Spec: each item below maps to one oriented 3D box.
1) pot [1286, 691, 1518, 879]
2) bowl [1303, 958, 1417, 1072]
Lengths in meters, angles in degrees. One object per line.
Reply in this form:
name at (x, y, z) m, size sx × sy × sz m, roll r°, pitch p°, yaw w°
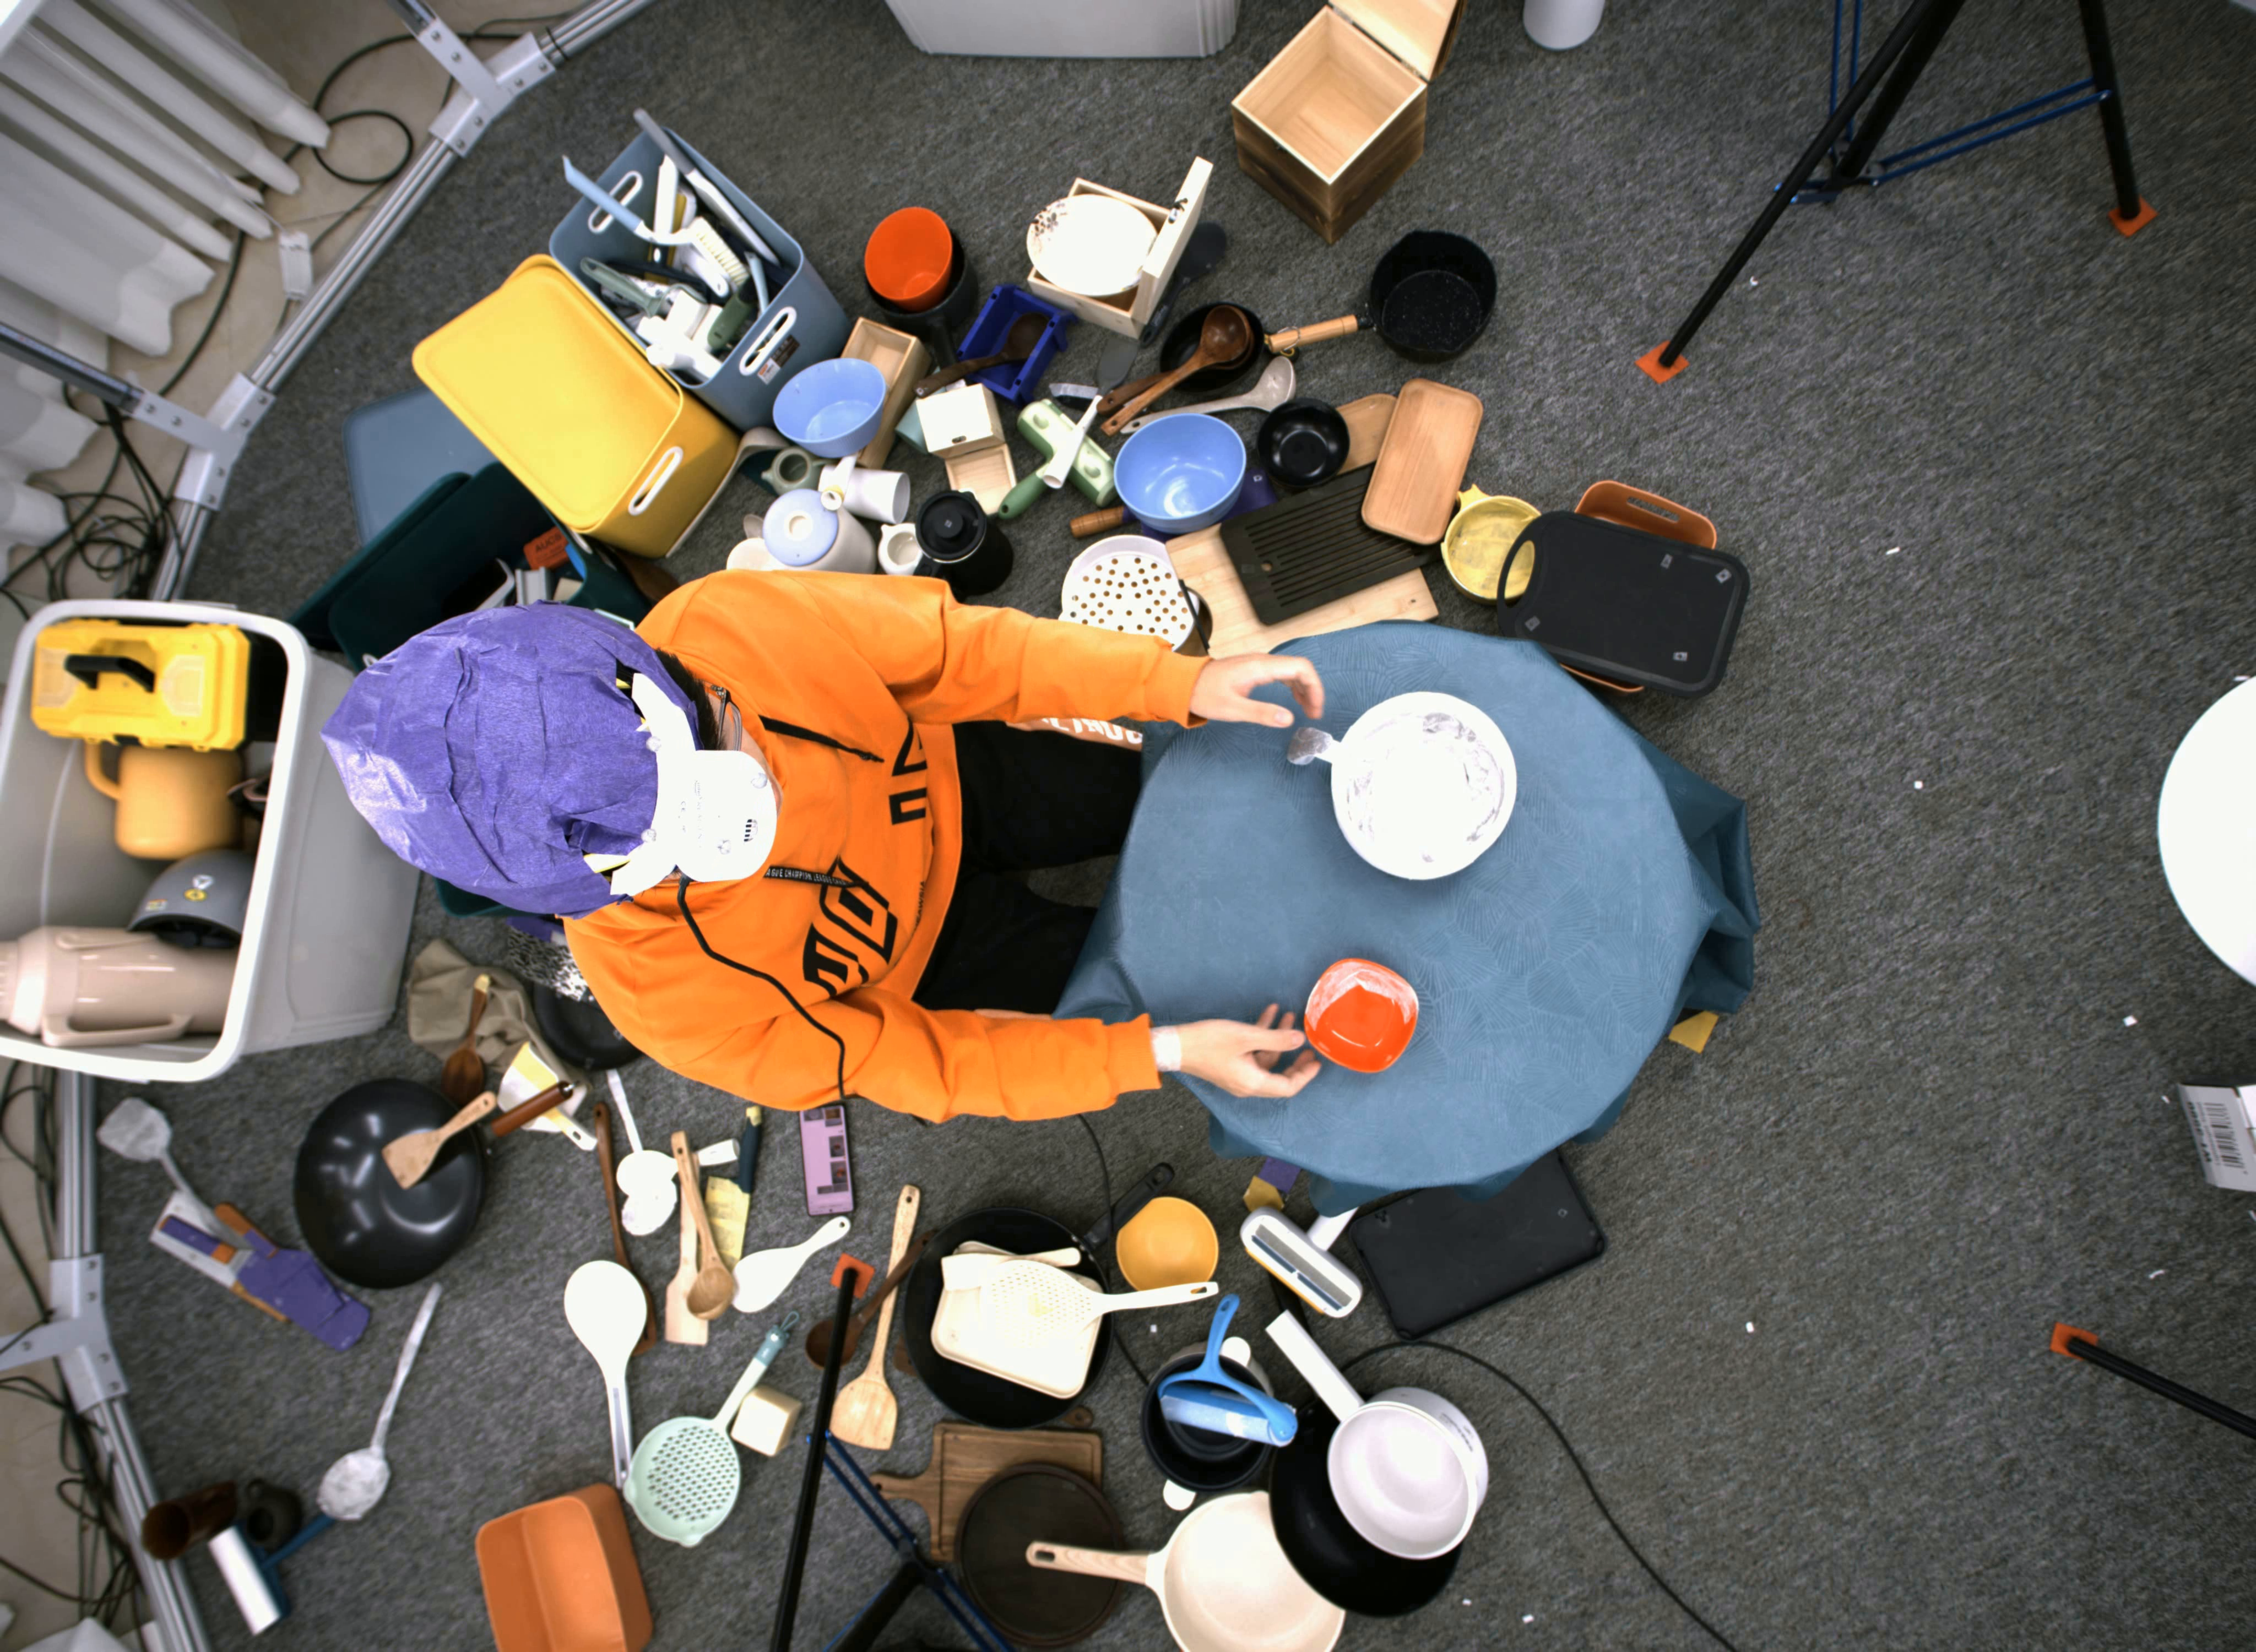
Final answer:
pot at (0.270, -0.048, 1.397) m, size 0.234 × 0.137 × 0.178 m, roll 21°, pitch 89°, yaw 11°
bowl at (0.240, 0.193, 1.433) m, size 0.119 × 0.051 × 0.118 m, roll -1°, pitch 88°, yaw 10°
